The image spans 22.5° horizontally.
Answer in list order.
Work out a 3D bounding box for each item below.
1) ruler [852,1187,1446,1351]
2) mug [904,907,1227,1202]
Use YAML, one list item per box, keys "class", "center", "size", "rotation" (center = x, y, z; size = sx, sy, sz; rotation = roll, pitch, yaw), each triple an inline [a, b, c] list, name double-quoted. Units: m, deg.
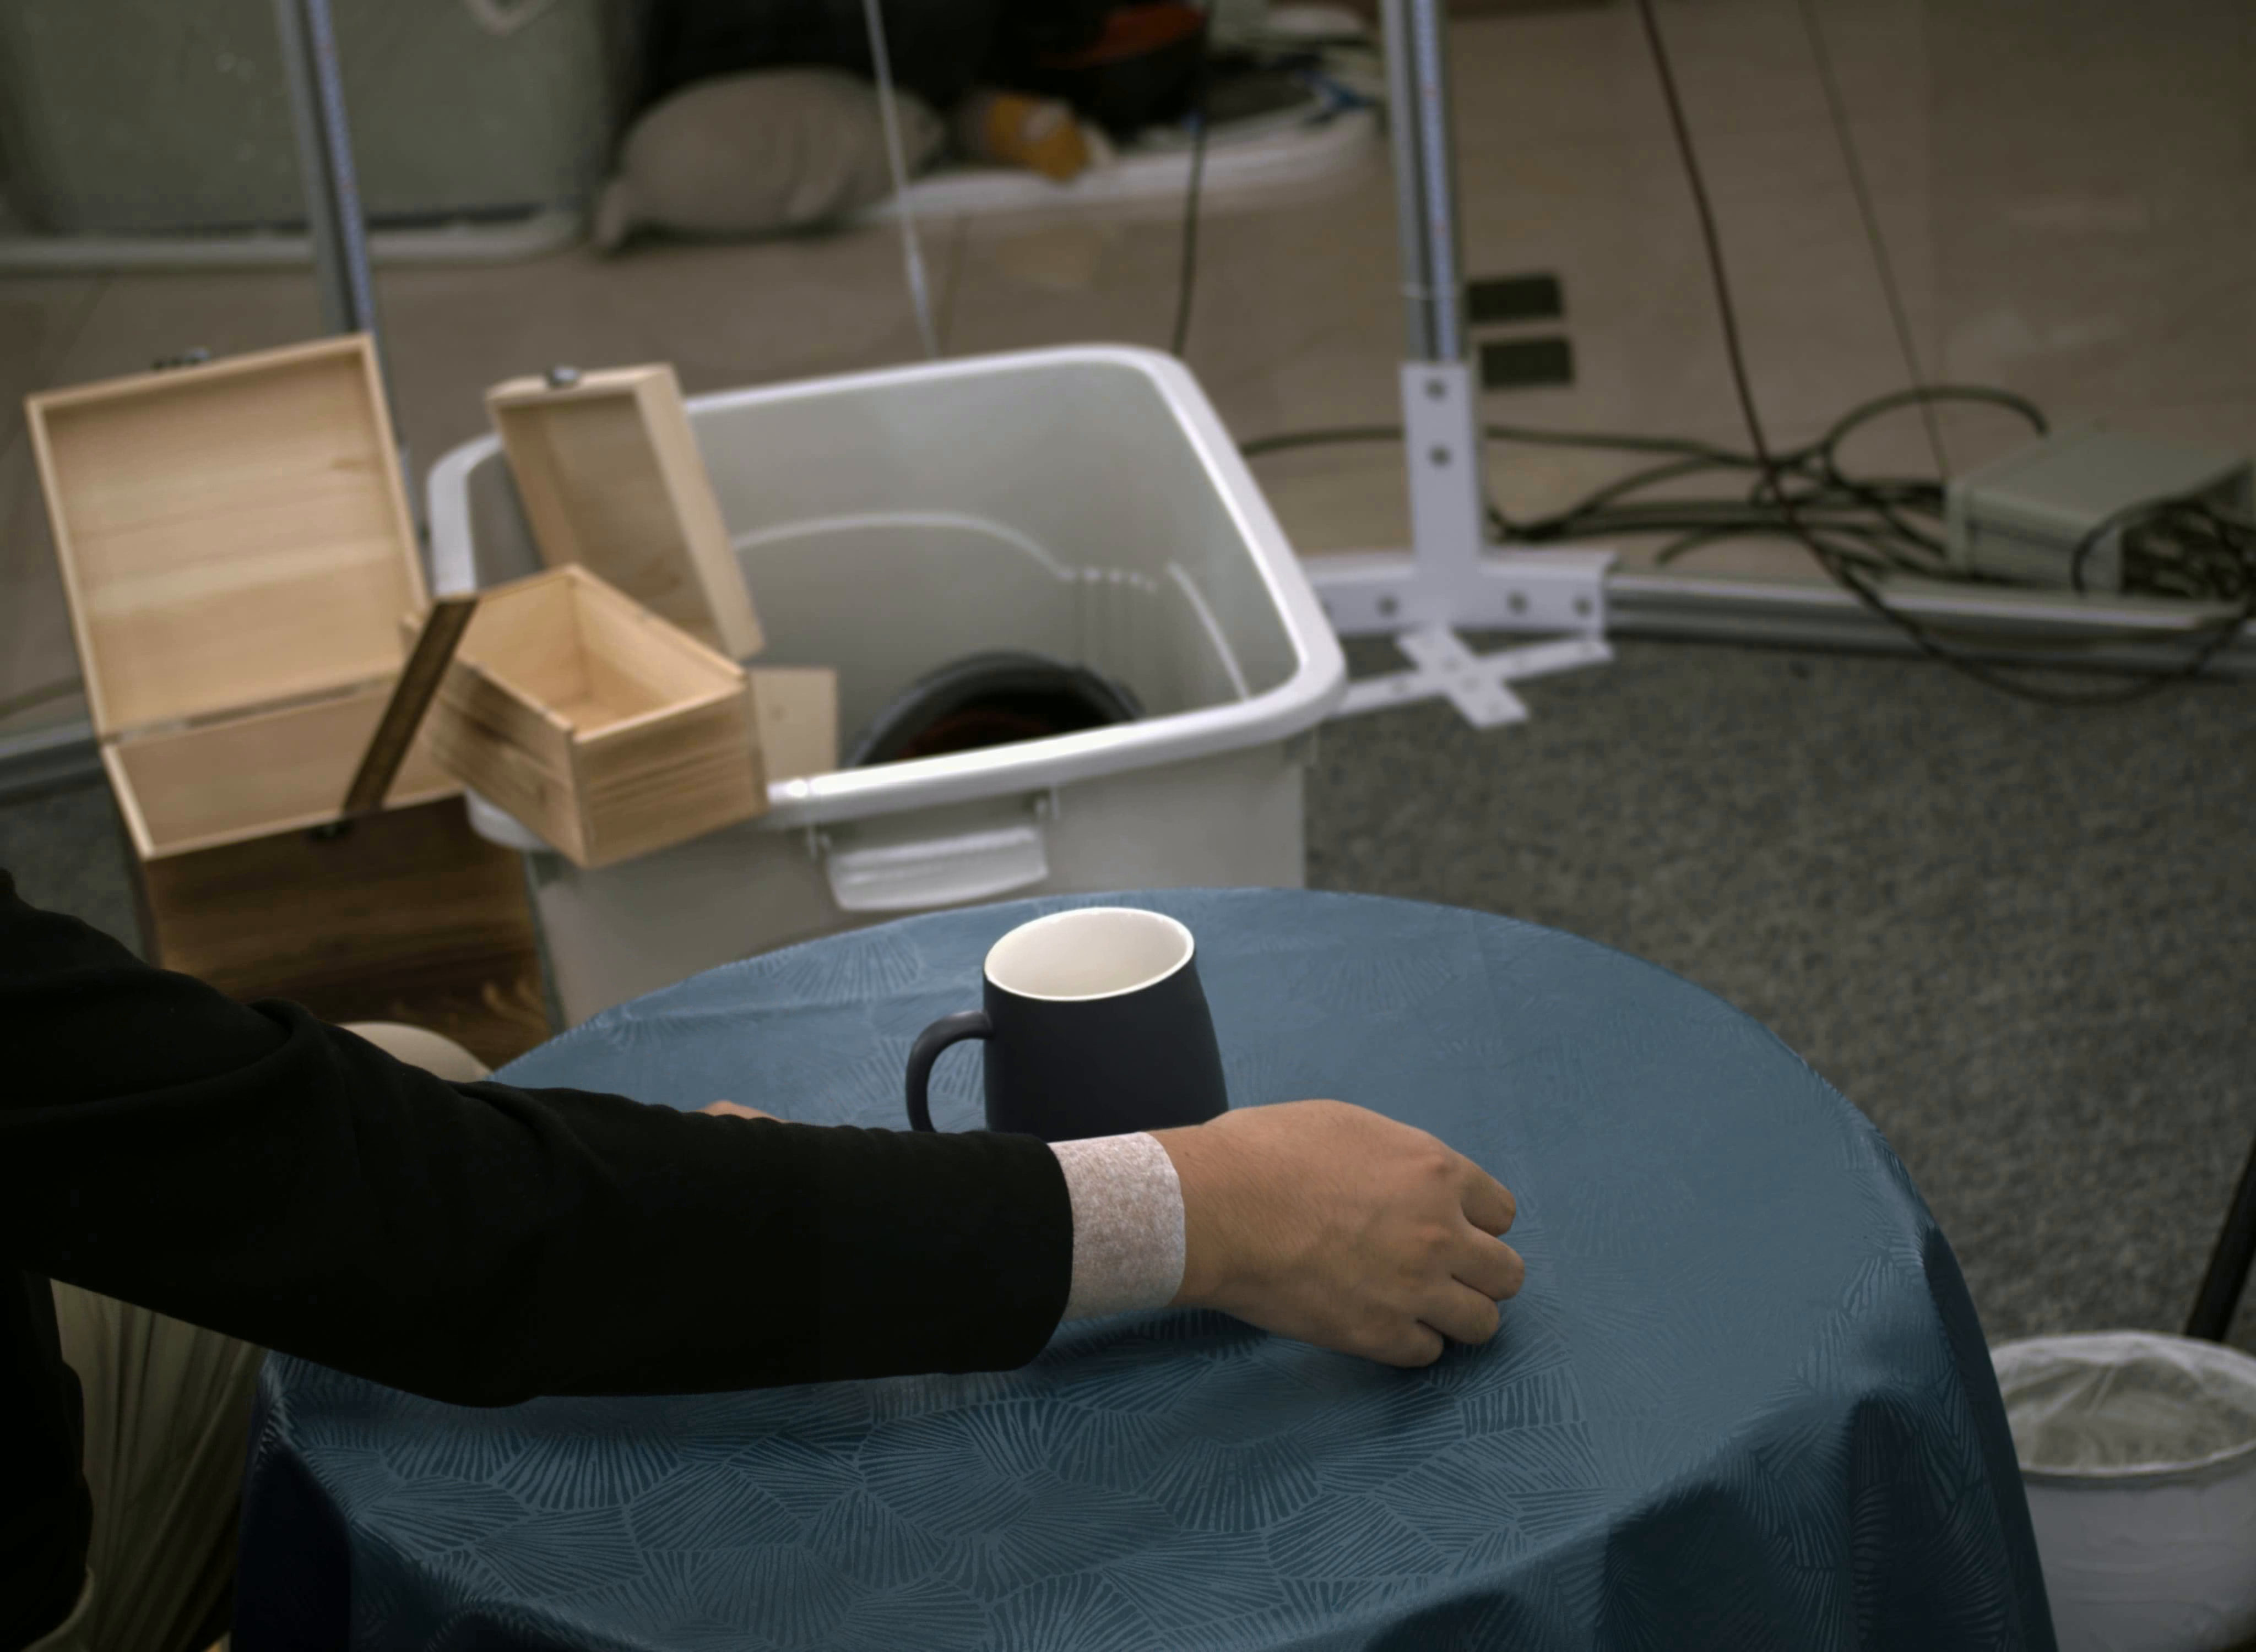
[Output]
- class: "ruler"
  center: [0.006, 0.151, 2.040]
  size: [0.217, 0.024, 0.038]
  rotation: [-12, 17, -13]
- class: "mug"
  center: [-0.025, 0.090, 2.148]
  size: [0.123, 0.091, 0.092]
  rotation: [-11, 25, -12]
